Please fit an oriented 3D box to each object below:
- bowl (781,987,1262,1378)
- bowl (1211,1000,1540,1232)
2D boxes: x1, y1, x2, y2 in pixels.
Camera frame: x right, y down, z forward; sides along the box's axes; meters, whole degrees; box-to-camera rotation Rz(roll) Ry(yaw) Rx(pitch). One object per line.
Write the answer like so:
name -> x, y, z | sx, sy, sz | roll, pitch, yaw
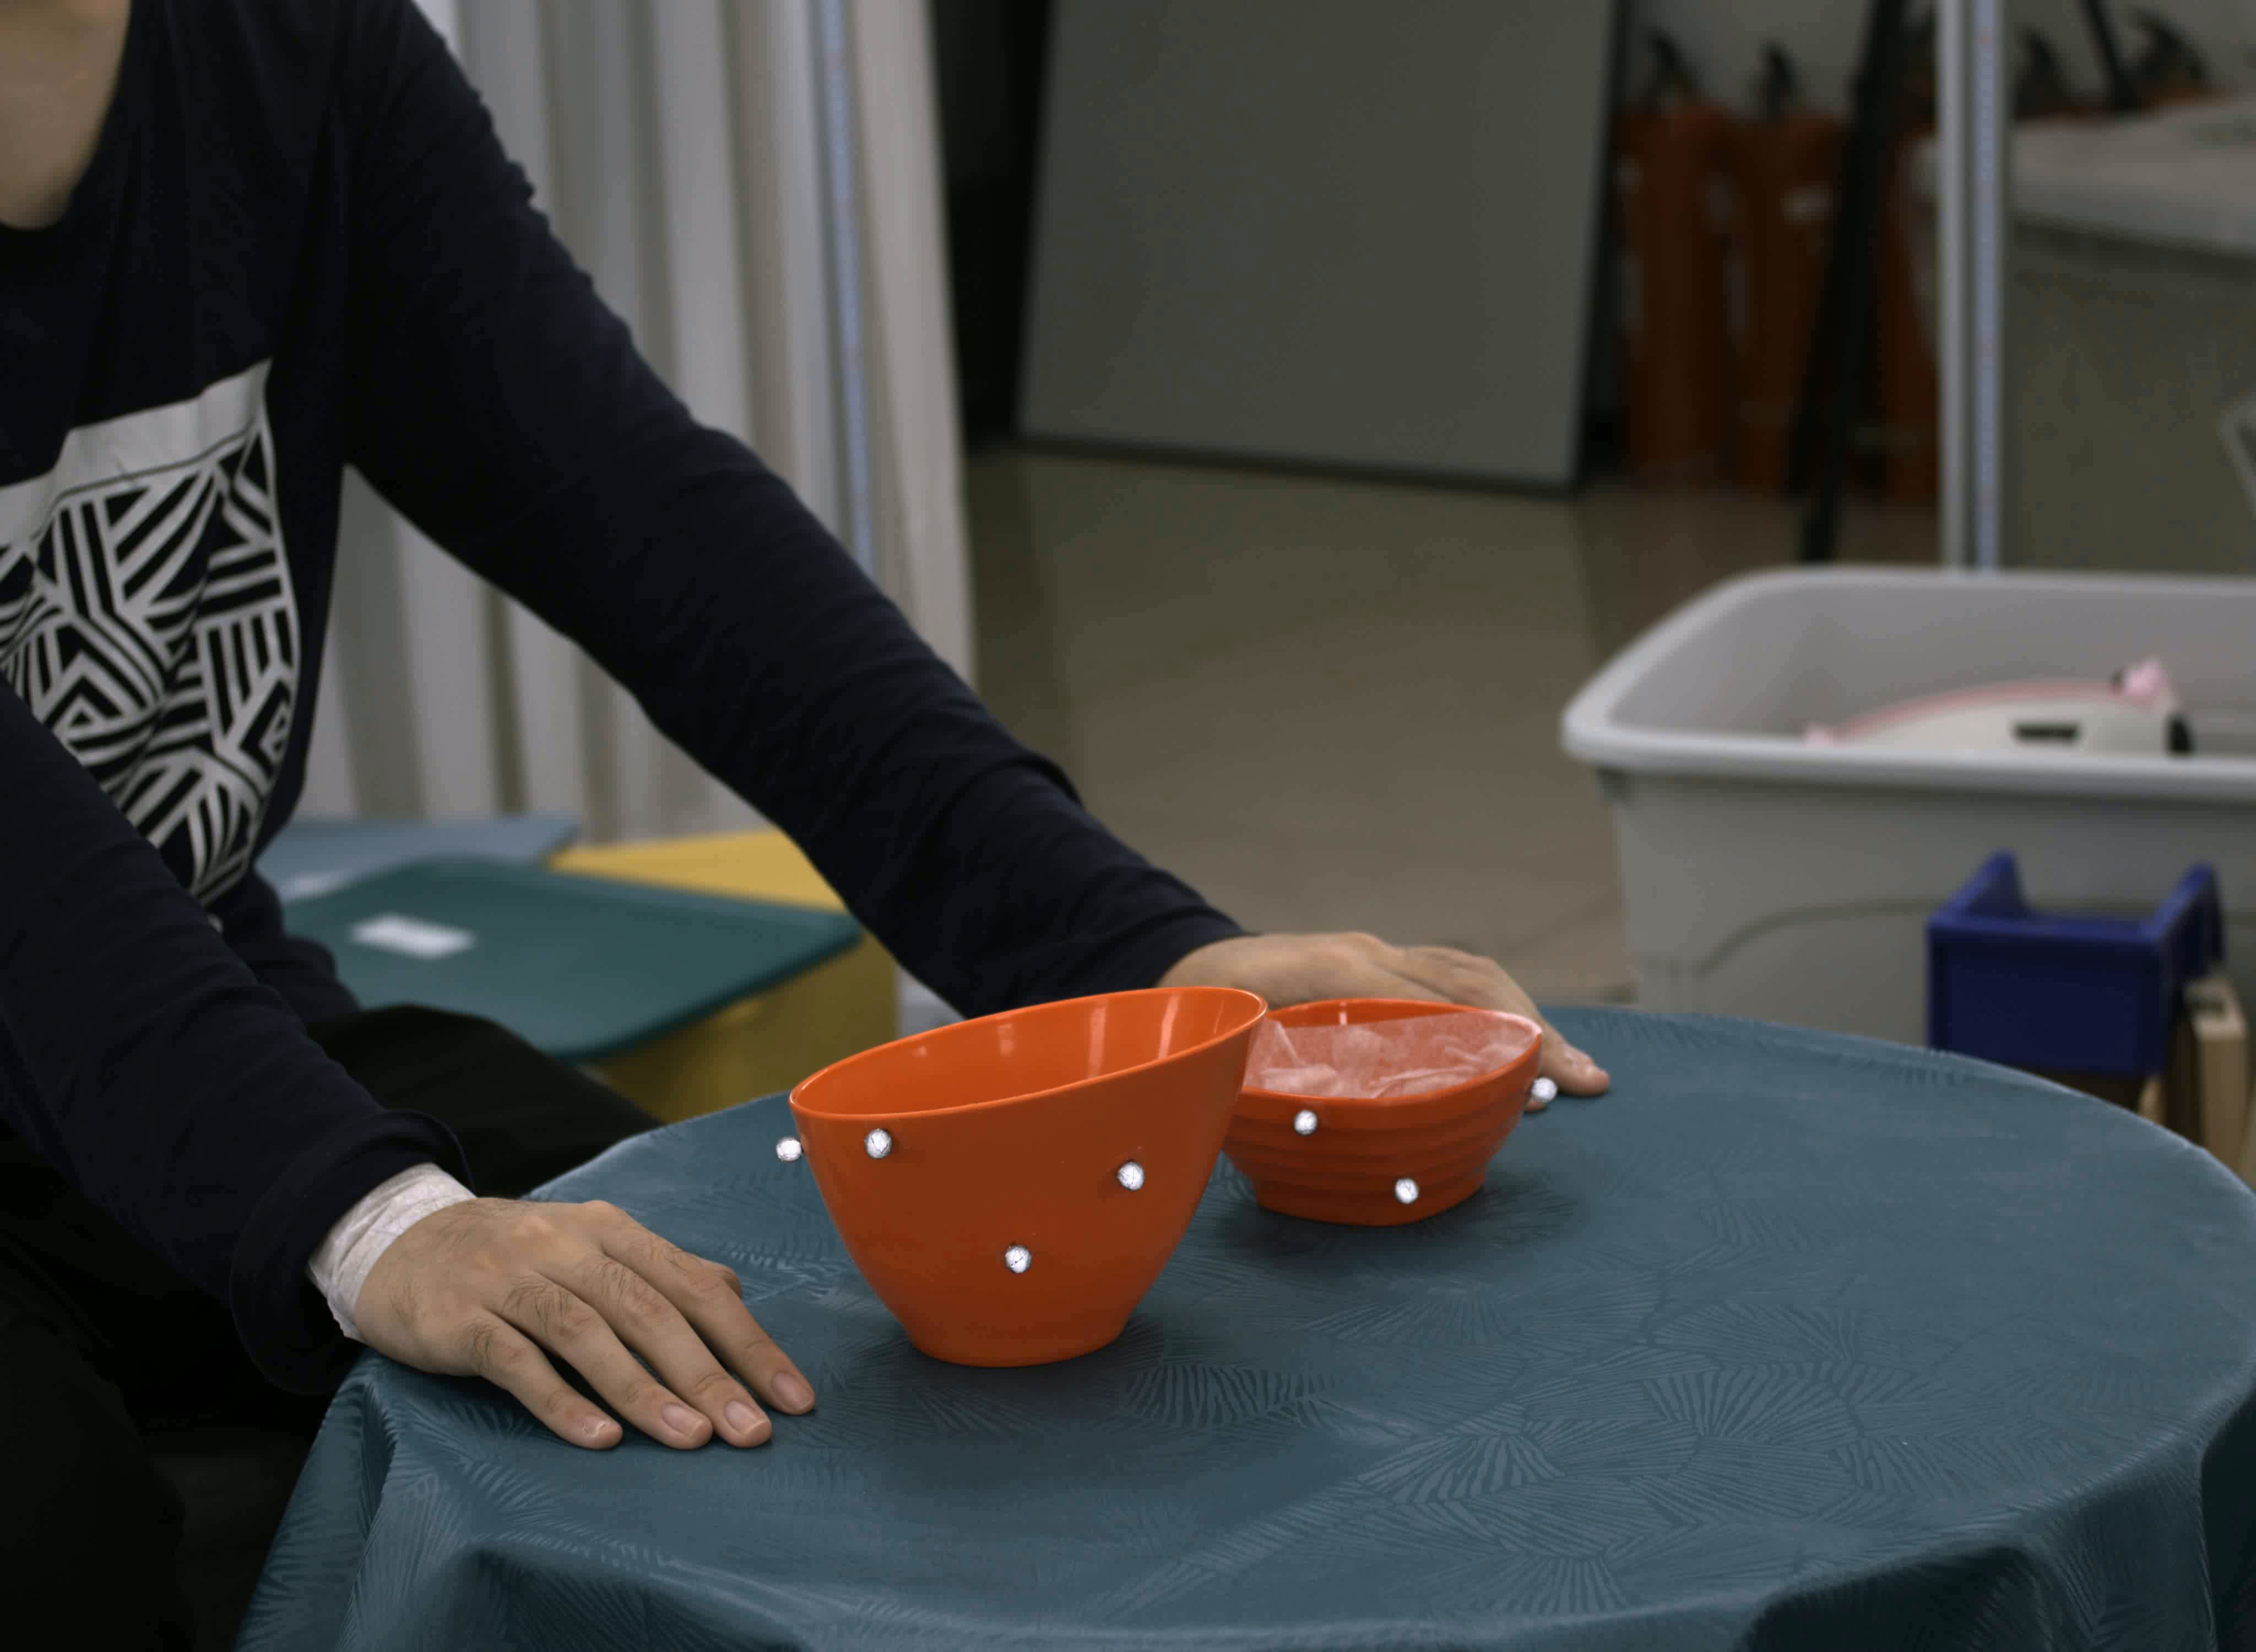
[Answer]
bowl -> -0.030, 0.107, 1.626 | 0.146, 0.106, 0.148 | -4, 14, 0
bowl -> 0.078, 0.096, 1.751 | 0.117, 0.052, 0.119 | -6, 14, 0
